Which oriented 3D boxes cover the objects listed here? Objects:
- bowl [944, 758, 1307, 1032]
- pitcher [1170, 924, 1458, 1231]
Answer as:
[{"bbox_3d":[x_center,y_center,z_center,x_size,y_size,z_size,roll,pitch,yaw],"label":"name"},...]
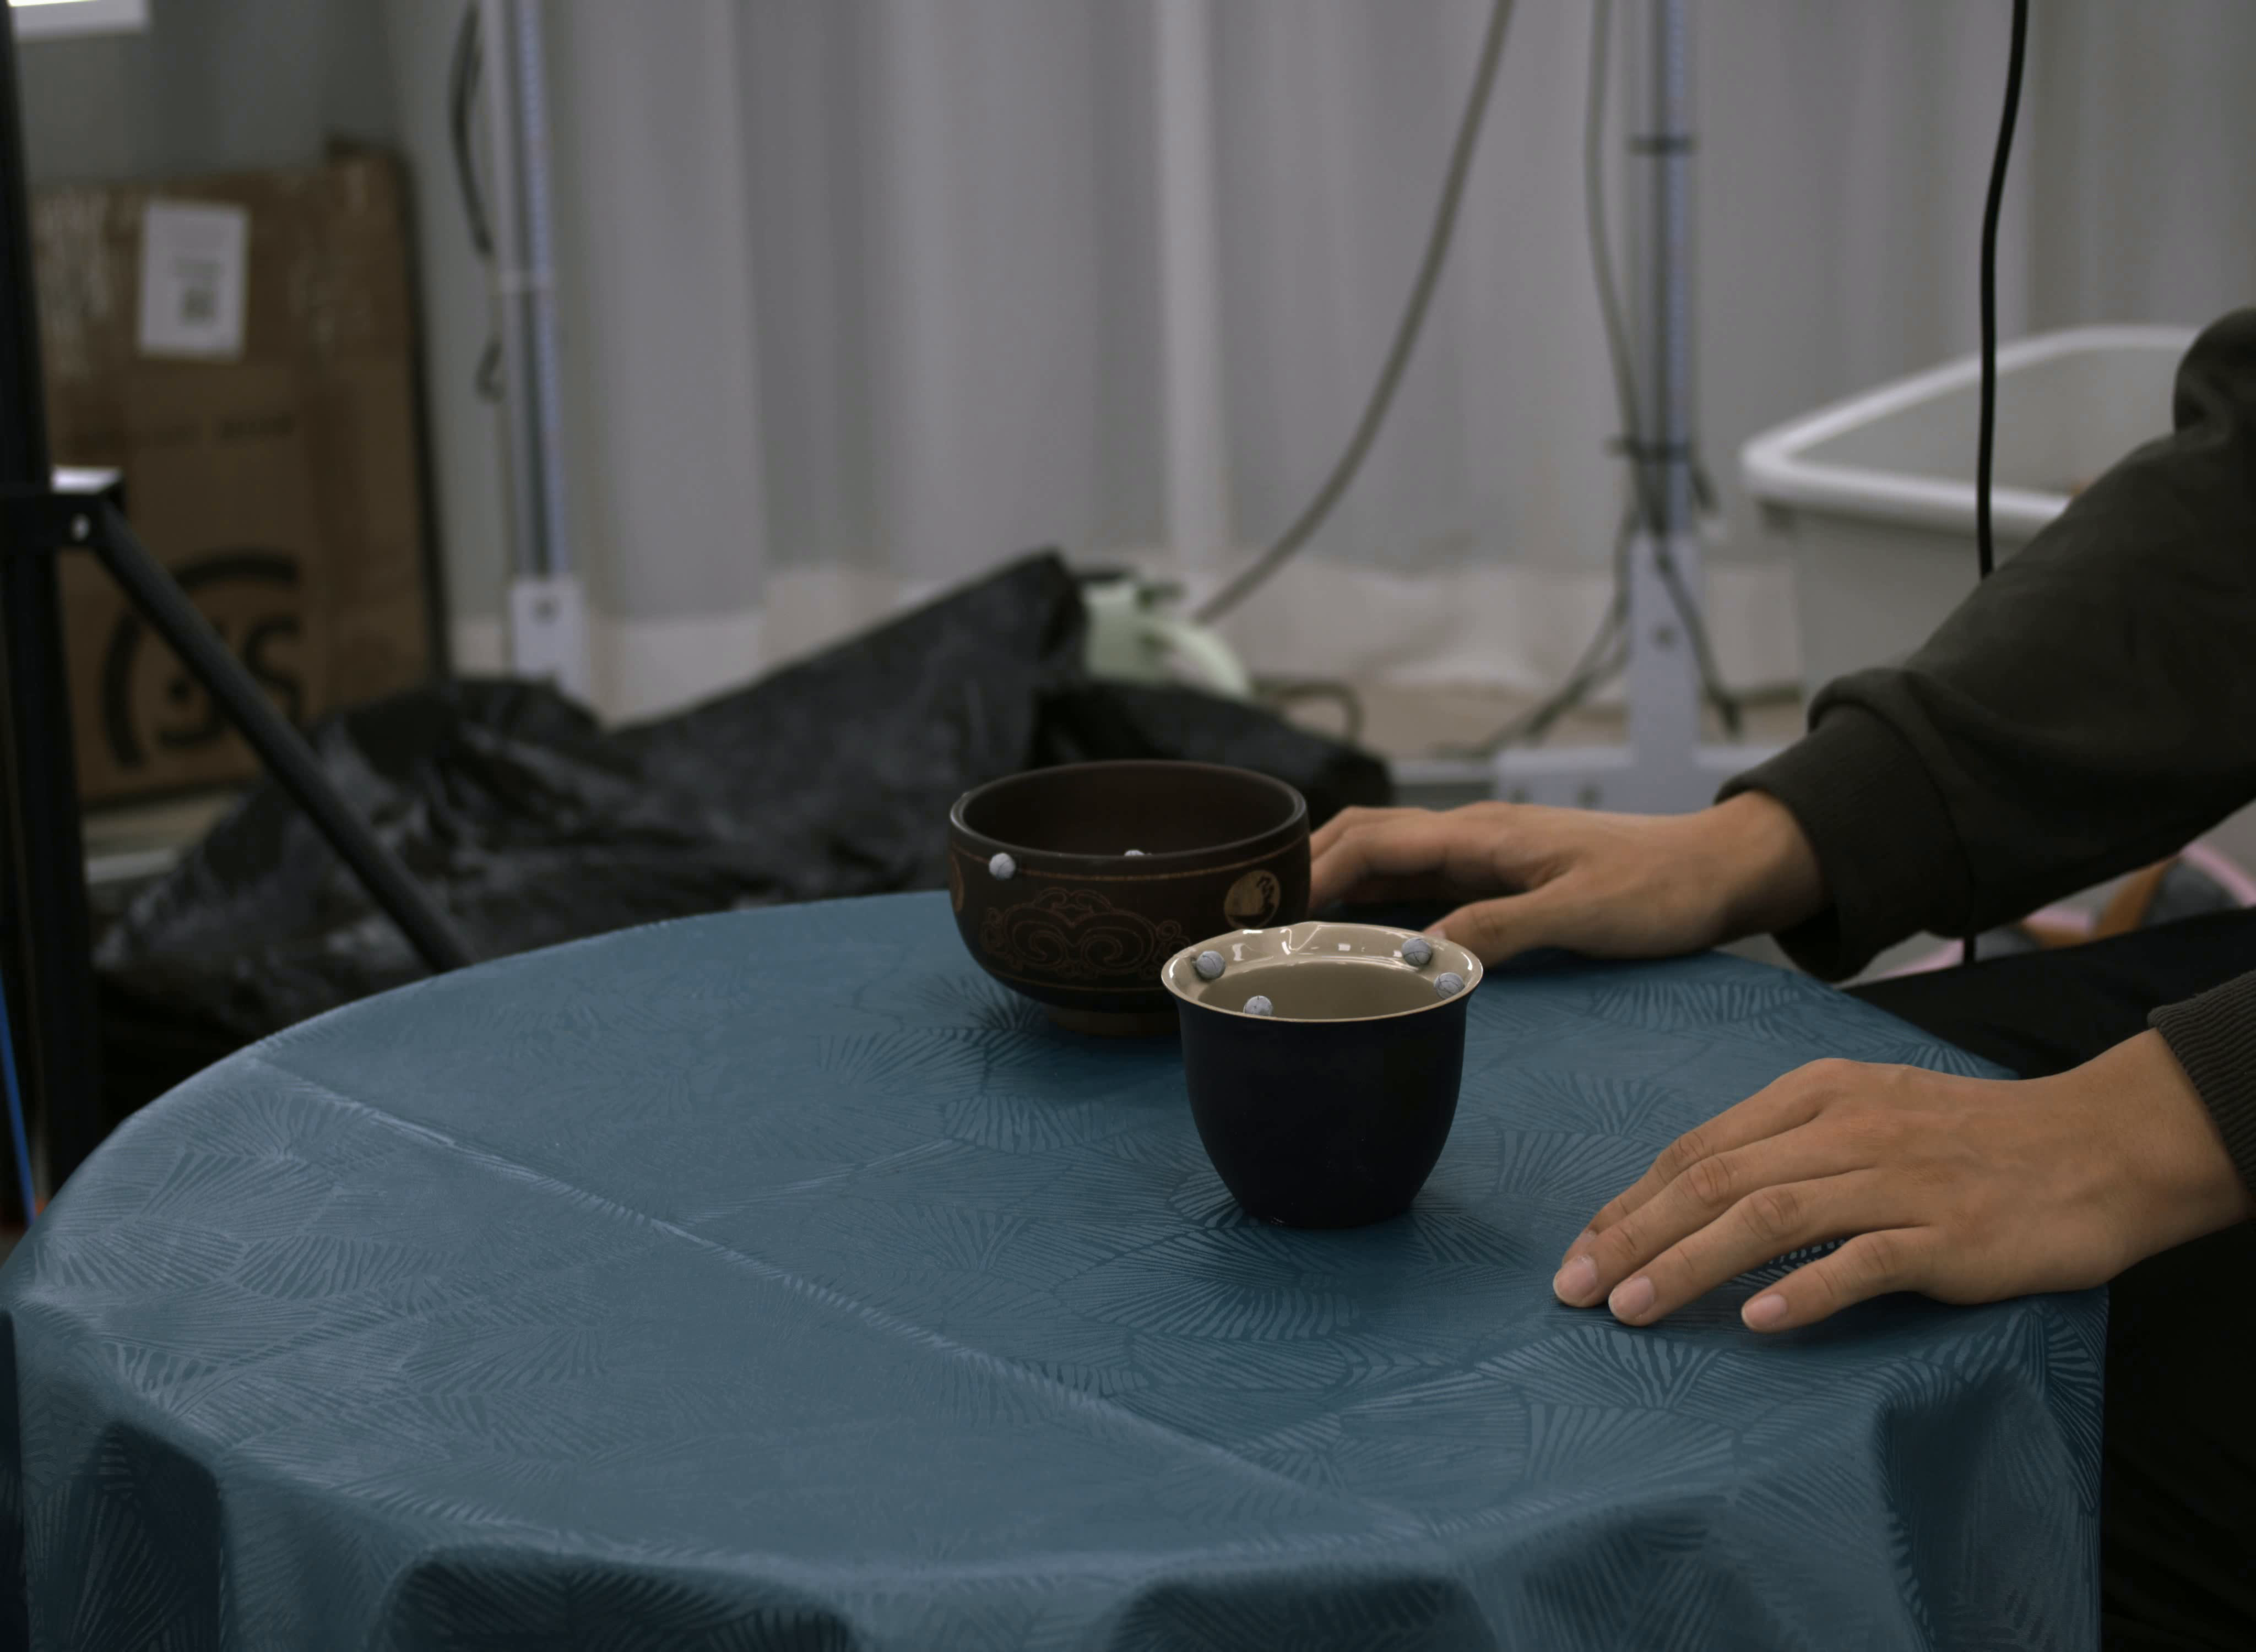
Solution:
[{"bbox_3d":[-0.001,0.025,1.718,0.117,0.070,0.118,-1,15,-1],"label":"bowl"},{"bbox_3d":[0.055,0.075,1.538,0.083,0.071,0.097,-6,14,-5],"label":"pitcher"}]
